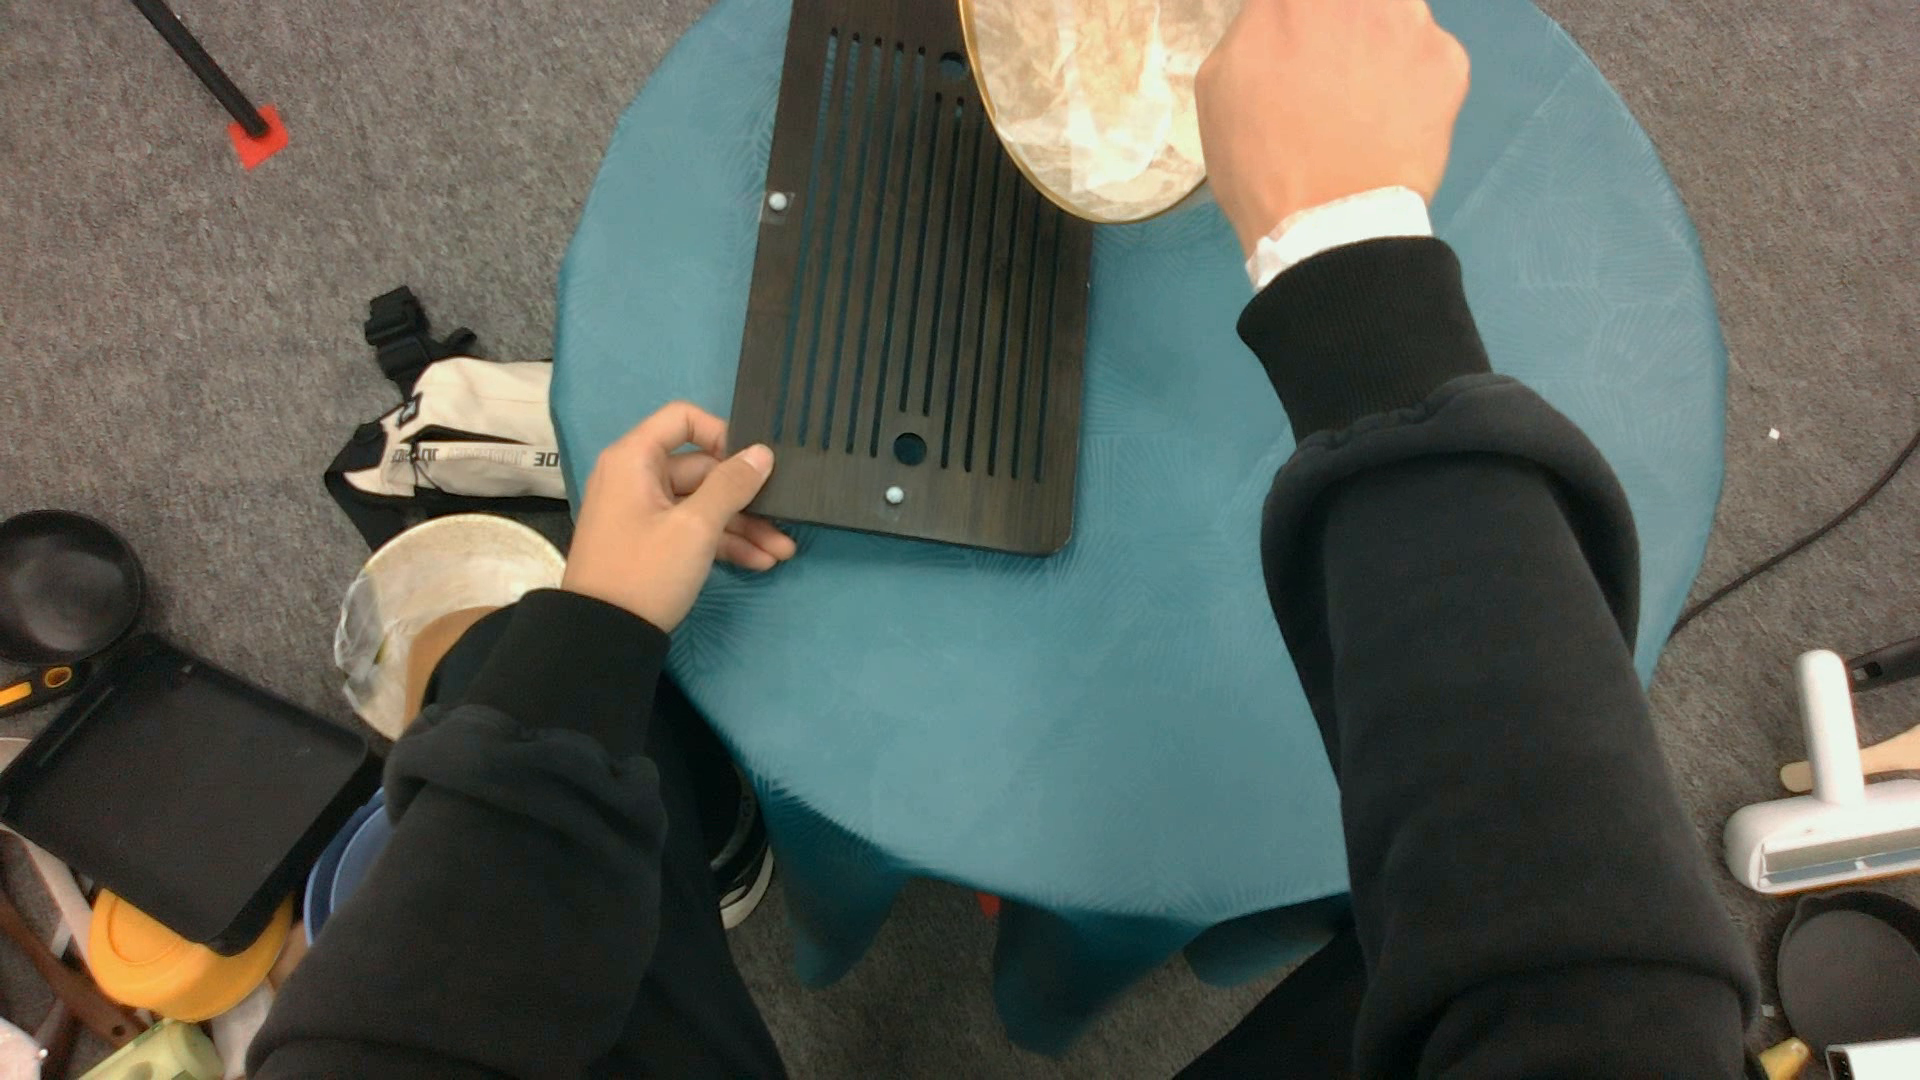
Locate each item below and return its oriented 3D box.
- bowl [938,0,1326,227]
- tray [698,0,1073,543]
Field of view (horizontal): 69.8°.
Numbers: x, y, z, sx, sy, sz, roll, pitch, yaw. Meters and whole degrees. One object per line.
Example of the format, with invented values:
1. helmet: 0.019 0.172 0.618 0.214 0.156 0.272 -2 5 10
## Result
1. bowl: 0.084 -0.244 0.590 0.095 0.213 0.215 -18 71 -33
2. tray: -0.028 -0.152 0.697 0.170 0.018 0.307 8 72 -9
